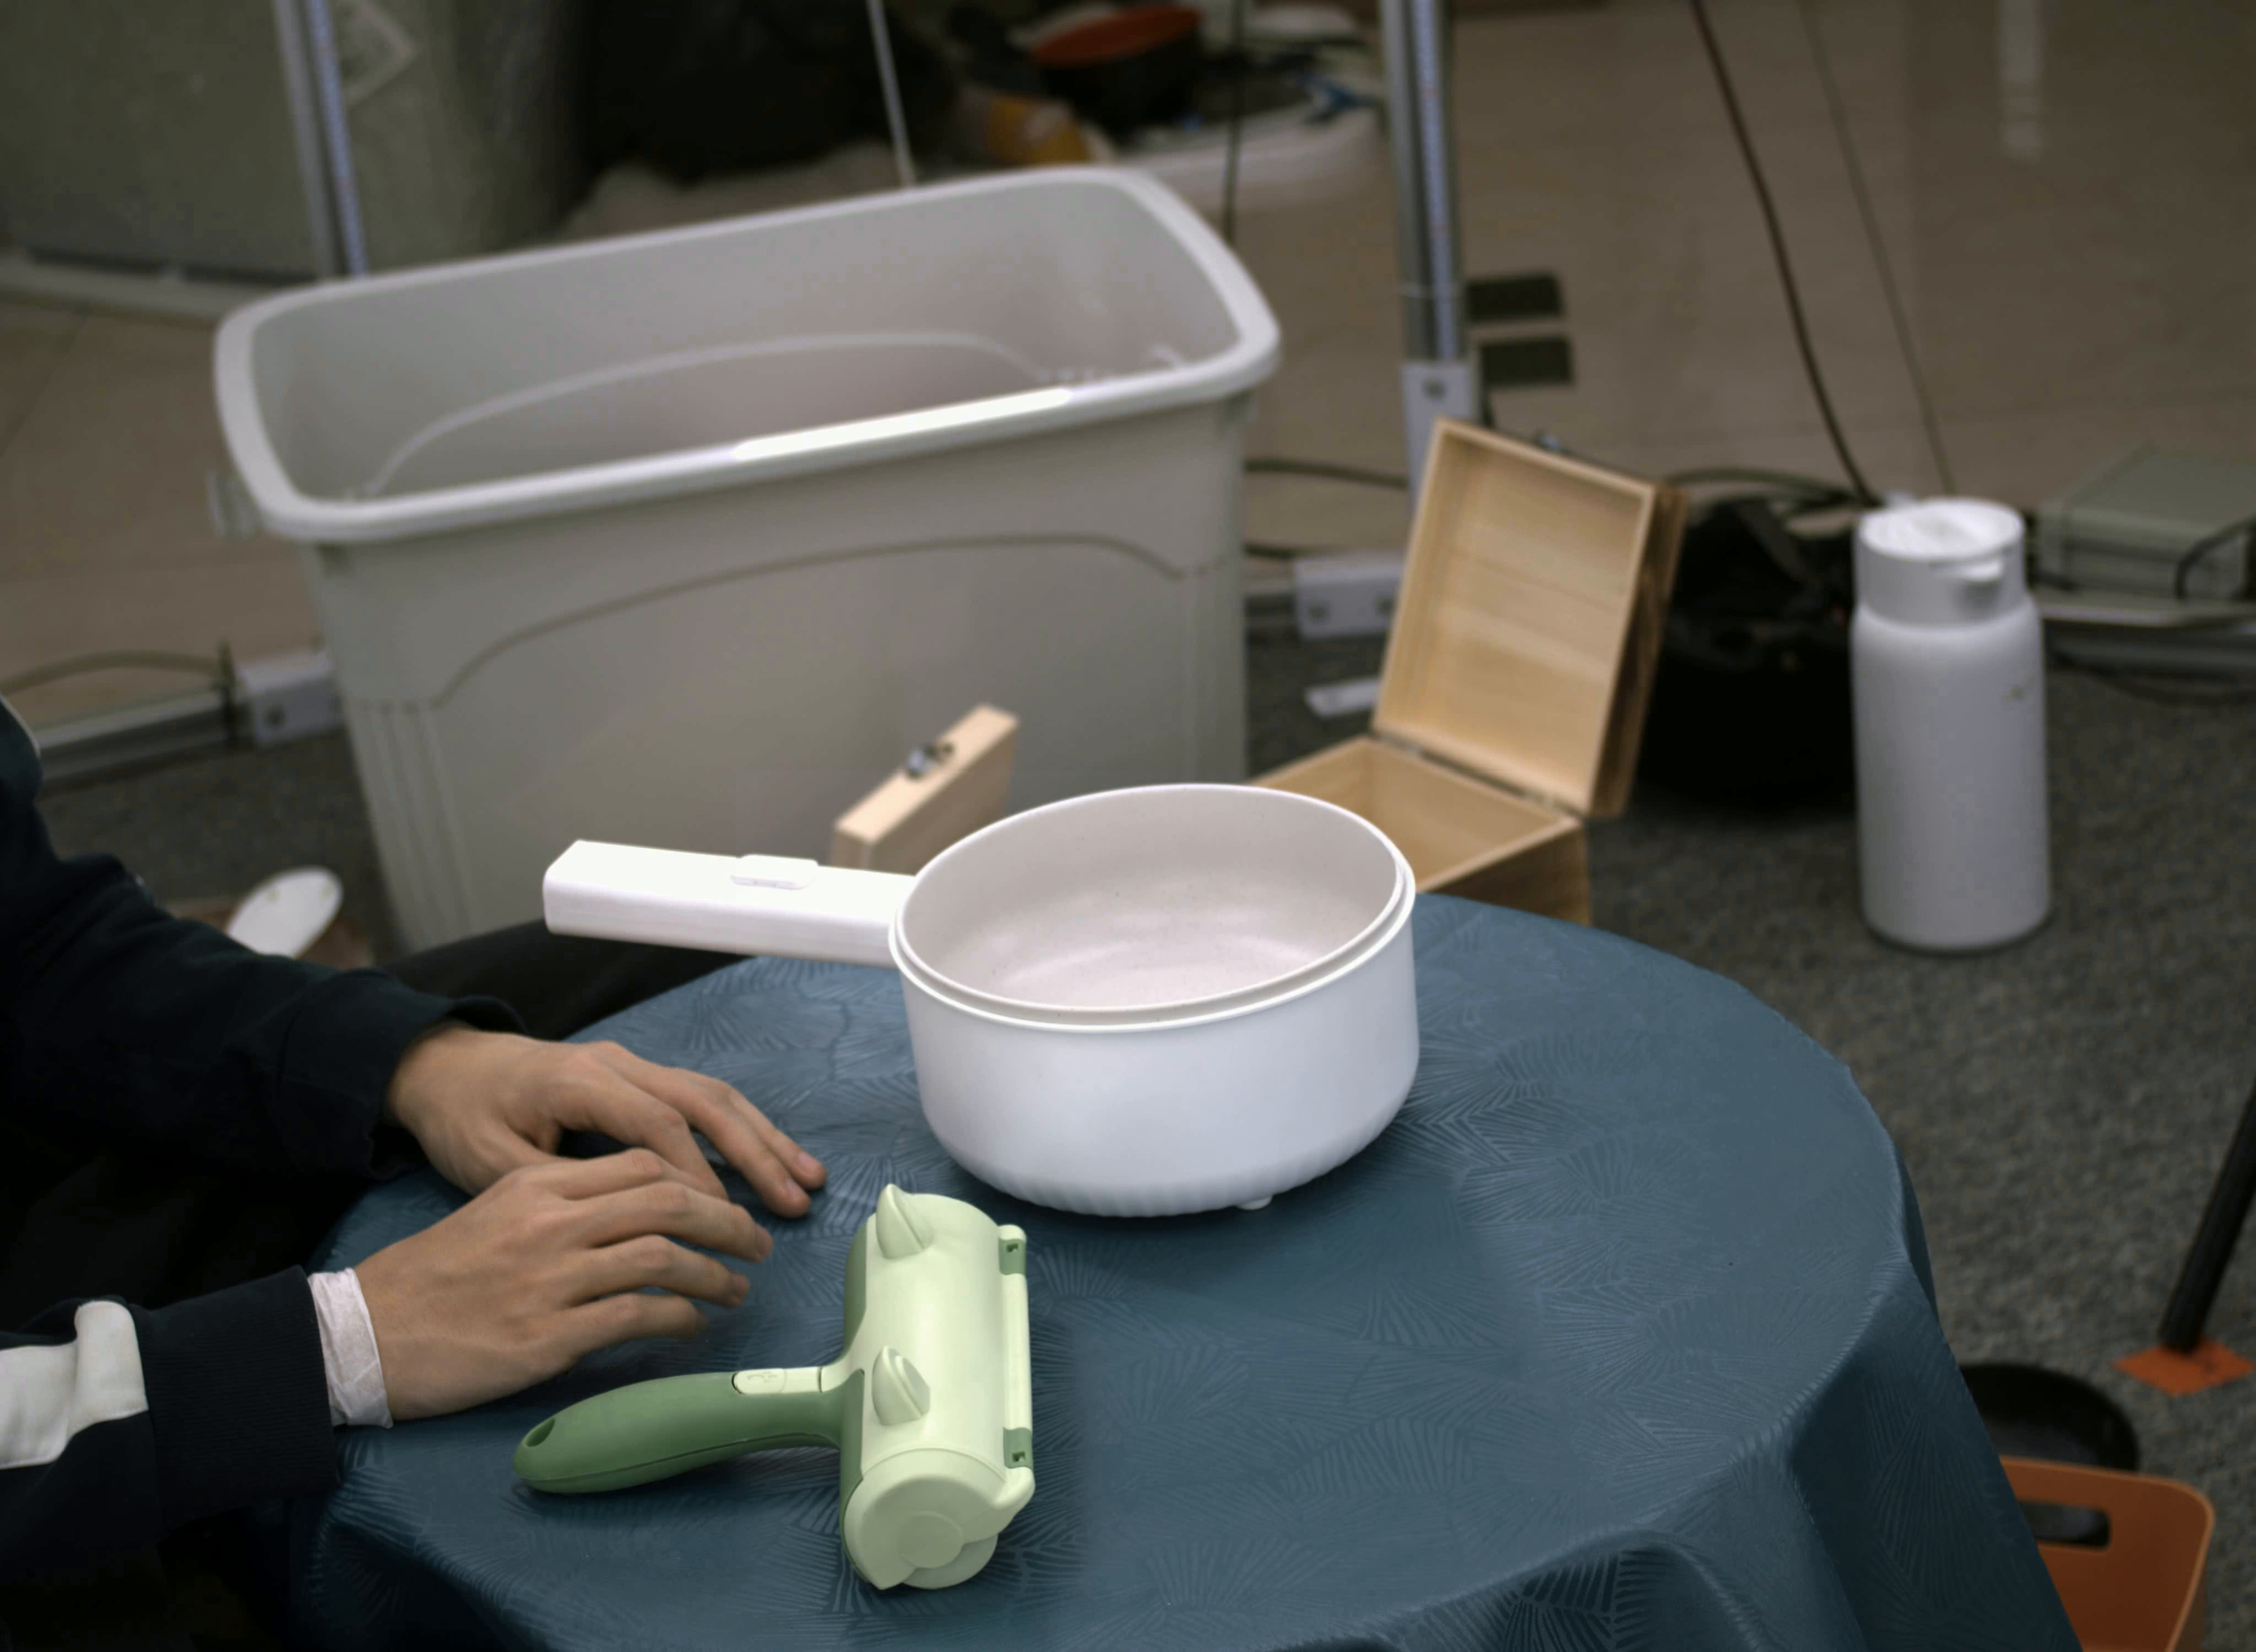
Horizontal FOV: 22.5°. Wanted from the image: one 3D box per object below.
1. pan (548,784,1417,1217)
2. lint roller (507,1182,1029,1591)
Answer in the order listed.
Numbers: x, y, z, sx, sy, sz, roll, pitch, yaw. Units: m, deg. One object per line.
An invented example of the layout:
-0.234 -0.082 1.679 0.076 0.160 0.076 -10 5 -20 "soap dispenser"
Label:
-0.058 0.065 2.197 0.354 0.104 0.198 4 28 23 "pan"
-0.127 0.190 1.976 0.183 0.083 0.195 -1 26 -1 "lint roller"
